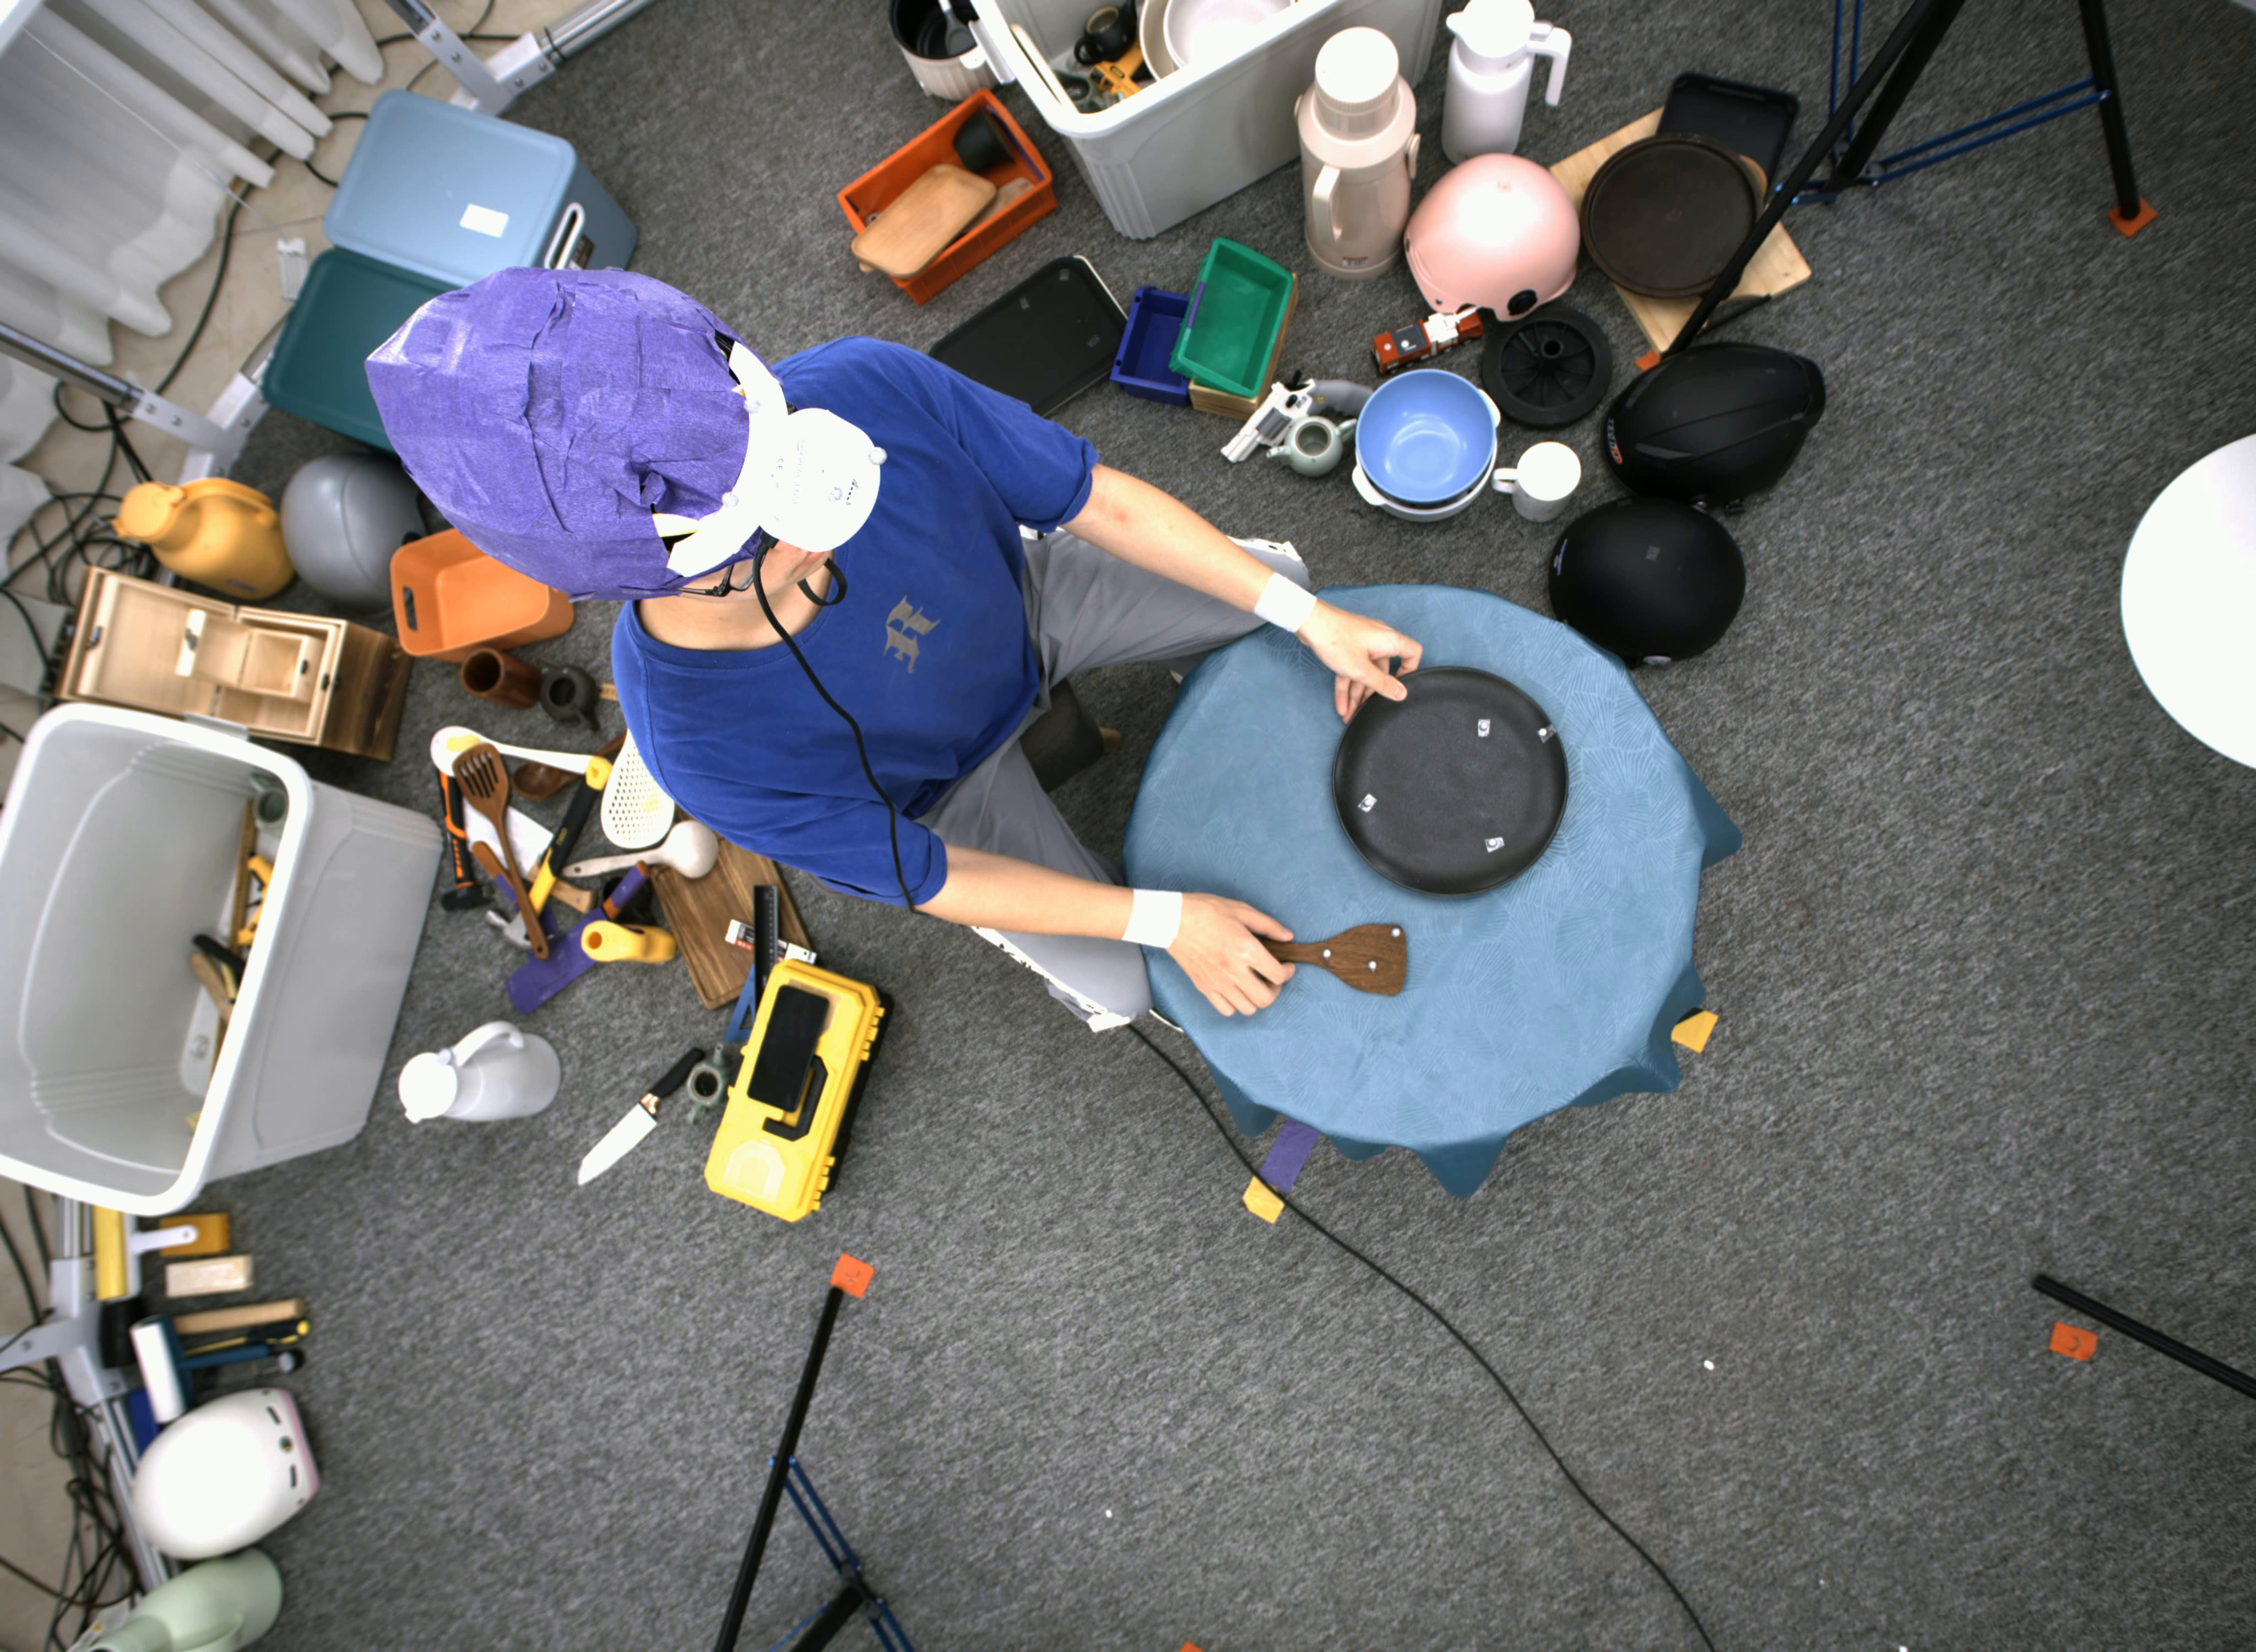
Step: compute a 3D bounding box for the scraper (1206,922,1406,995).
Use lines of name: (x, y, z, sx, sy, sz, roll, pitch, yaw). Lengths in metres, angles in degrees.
scraper: (0.187, 0.133, 1.466, 0.212, 0.011, 0.075, 4, 87, 12)

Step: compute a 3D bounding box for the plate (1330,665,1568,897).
plate: (0.334, -0.049, 1.439, 0.245, 0.023, 0.243, -1, 88, 10)
